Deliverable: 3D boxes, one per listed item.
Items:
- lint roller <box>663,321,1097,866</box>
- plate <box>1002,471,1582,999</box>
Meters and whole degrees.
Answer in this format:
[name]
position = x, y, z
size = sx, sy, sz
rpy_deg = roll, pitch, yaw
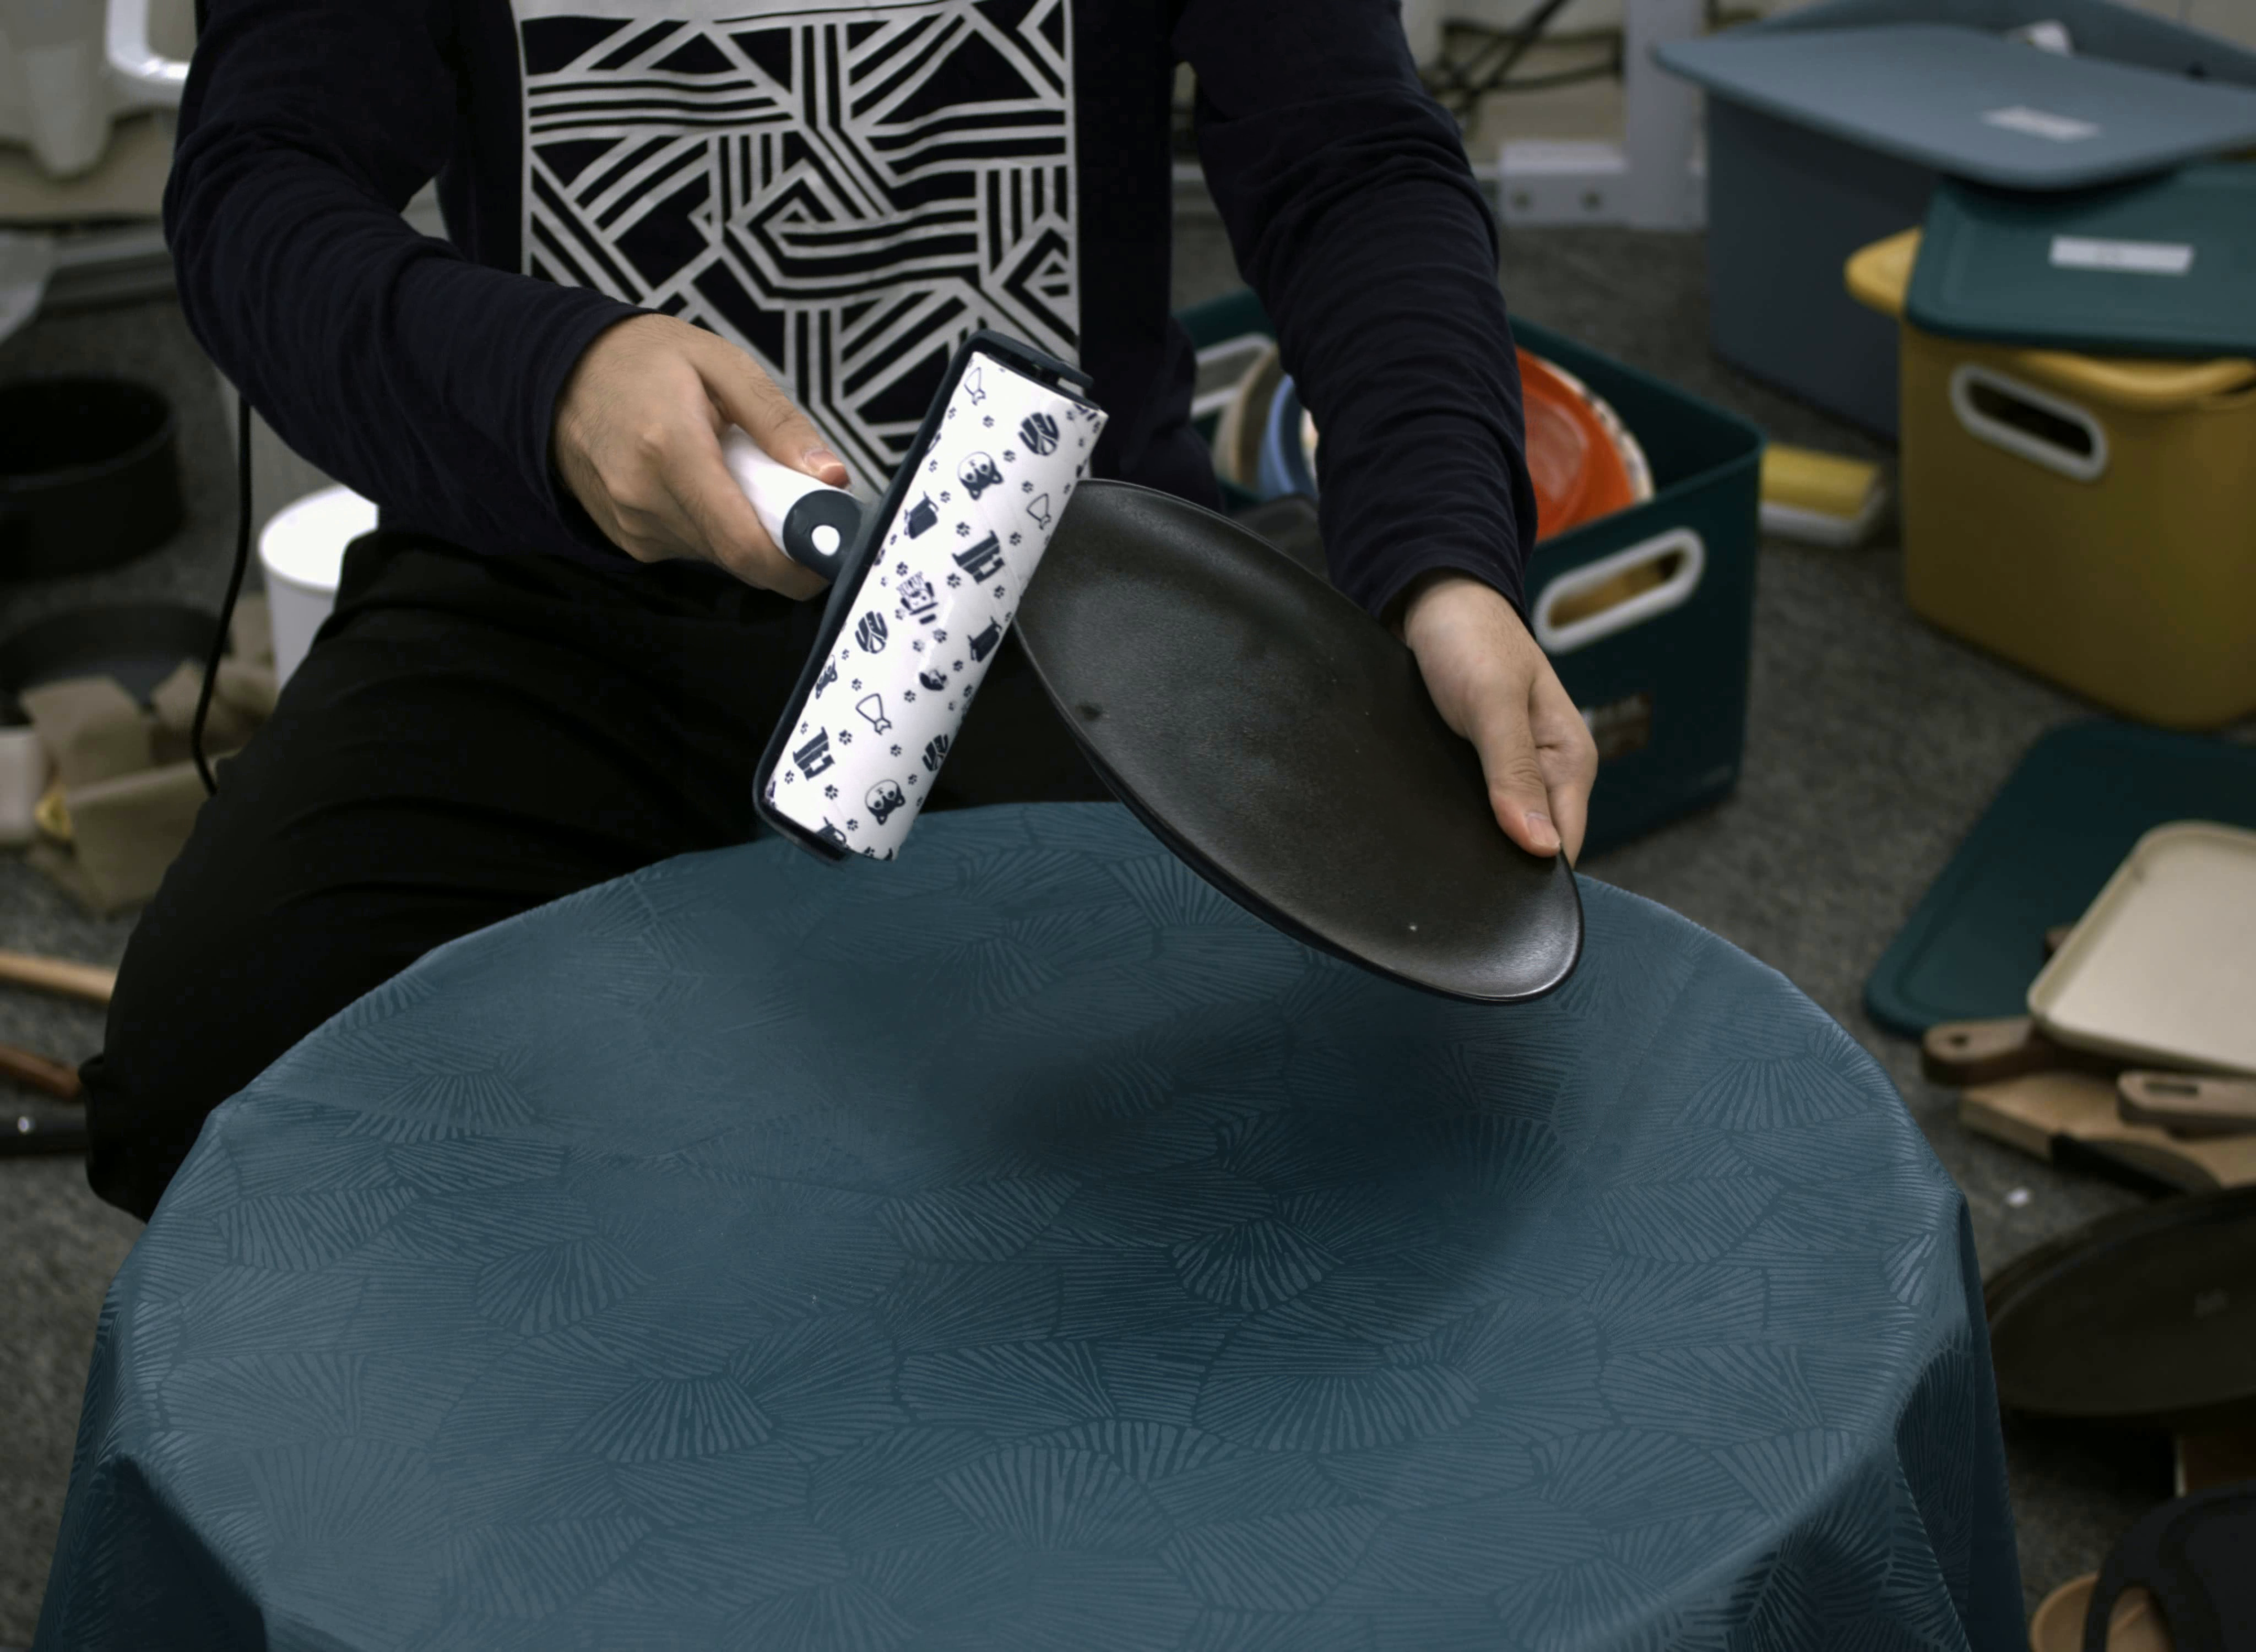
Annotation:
[lint roller]
position = -0.108, -0.102, 1.878
size = 0.050, 0.176, 0.247
rpy_deg = 23, 5, -33
[plate]
position = 0.049, -0.026, 1.877
size = 0.243, 0.023, 0.248
rpy_deg = 32, 26, -17
